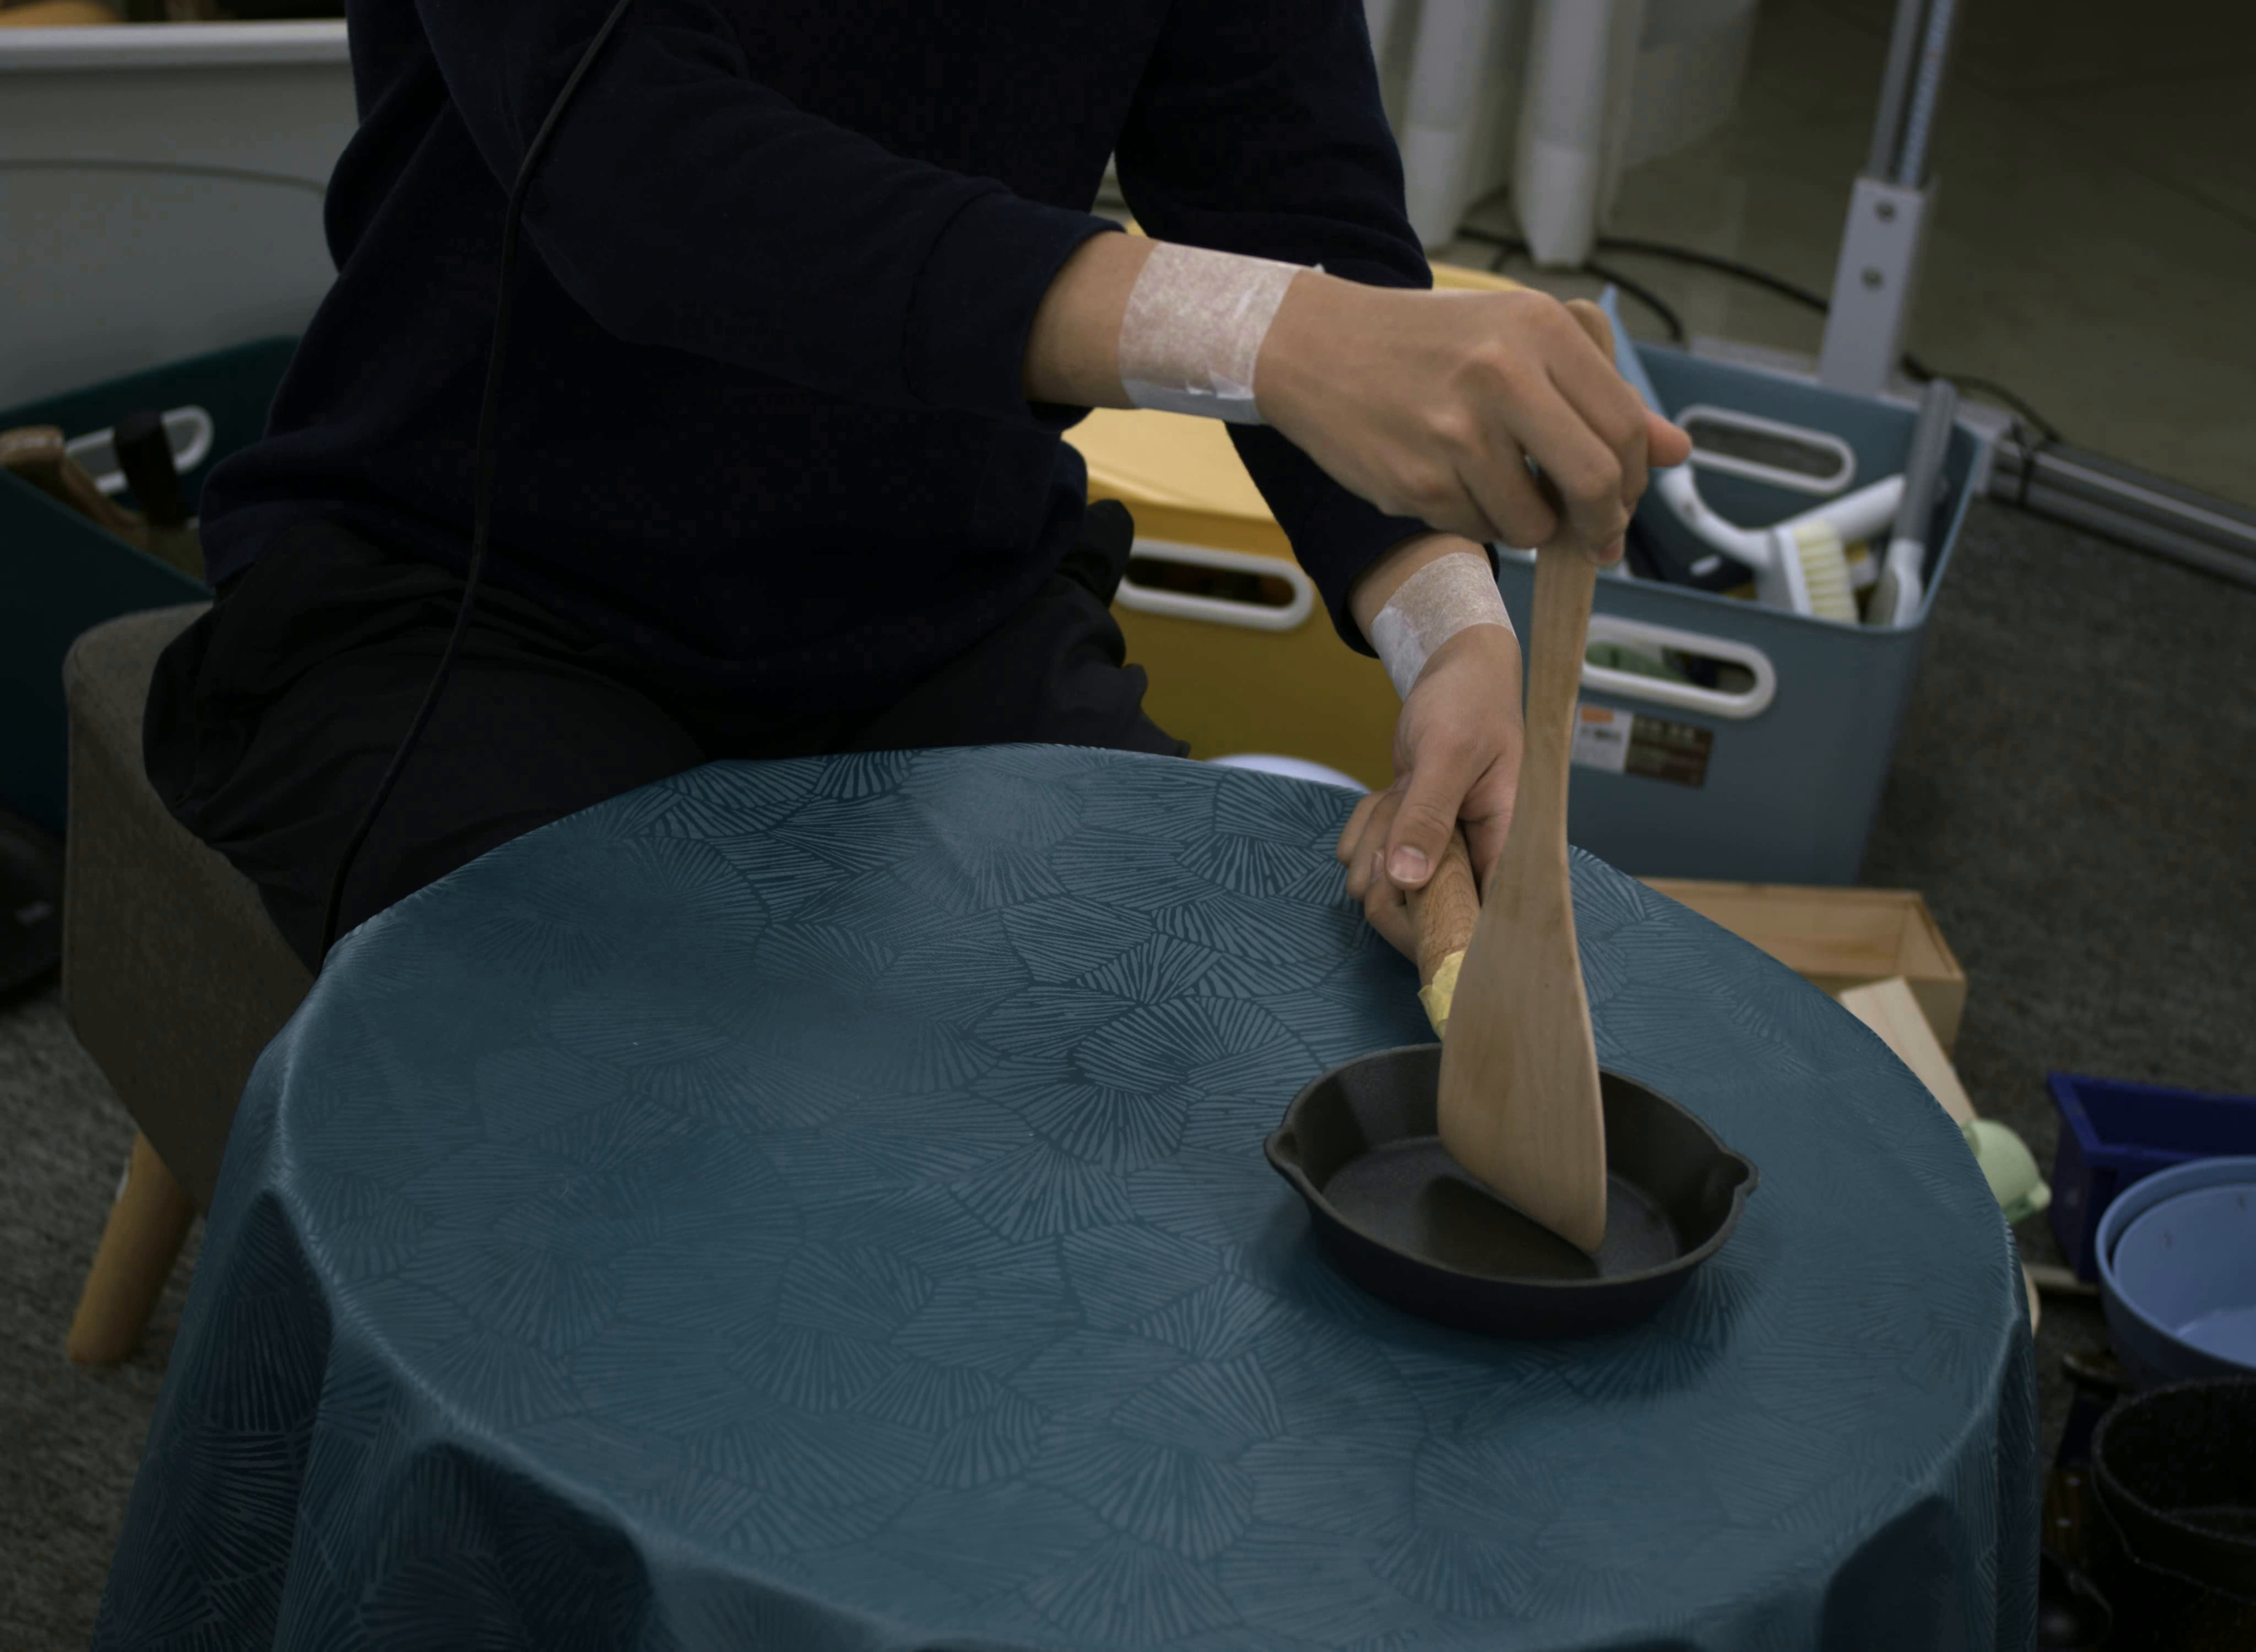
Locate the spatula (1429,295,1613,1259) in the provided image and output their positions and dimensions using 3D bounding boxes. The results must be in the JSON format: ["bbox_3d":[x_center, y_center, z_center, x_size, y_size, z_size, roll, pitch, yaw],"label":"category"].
[{"bbox_3d":[0.137,-0.016,1.754,0.016,0.327,0.080,-14,26,-41],"label":"spatula"}]

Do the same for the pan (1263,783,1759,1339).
[{"bbox_3d":[0.124,0.079,1.862,0.168,0.049,0.326,4,28,-5],"label":"pan"}]
